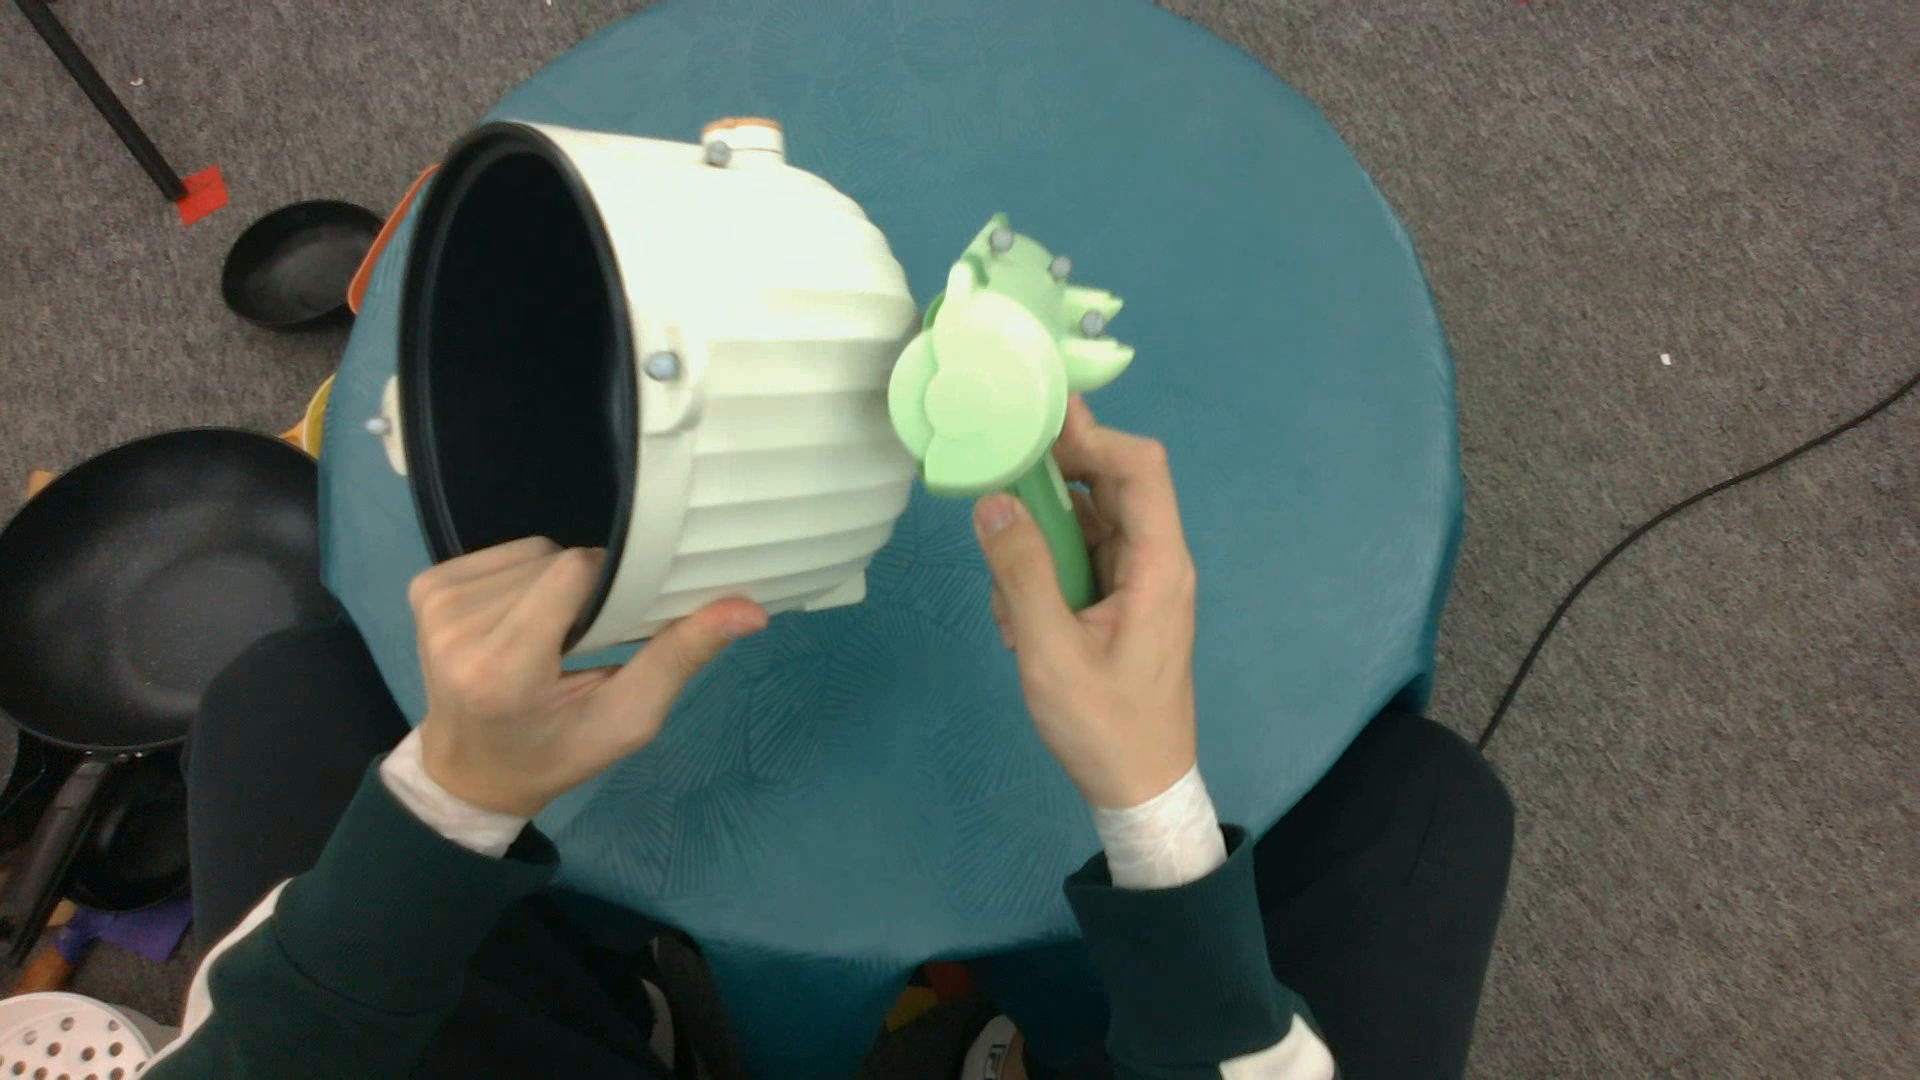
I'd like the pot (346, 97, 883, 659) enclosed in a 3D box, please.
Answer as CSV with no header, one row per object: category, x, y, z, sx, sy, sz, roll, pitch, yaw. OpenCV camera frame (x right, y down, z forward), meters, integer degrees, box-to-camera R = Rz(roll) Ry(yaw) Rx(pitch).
pot,-0.122,-0.065,0.506,0.143,0.239,0.190,-16,97,-43

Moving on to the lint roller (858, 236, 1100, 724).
lint roller,0.029,-0.021,0.513,0.082,0.199,0.183,-24,104,9
